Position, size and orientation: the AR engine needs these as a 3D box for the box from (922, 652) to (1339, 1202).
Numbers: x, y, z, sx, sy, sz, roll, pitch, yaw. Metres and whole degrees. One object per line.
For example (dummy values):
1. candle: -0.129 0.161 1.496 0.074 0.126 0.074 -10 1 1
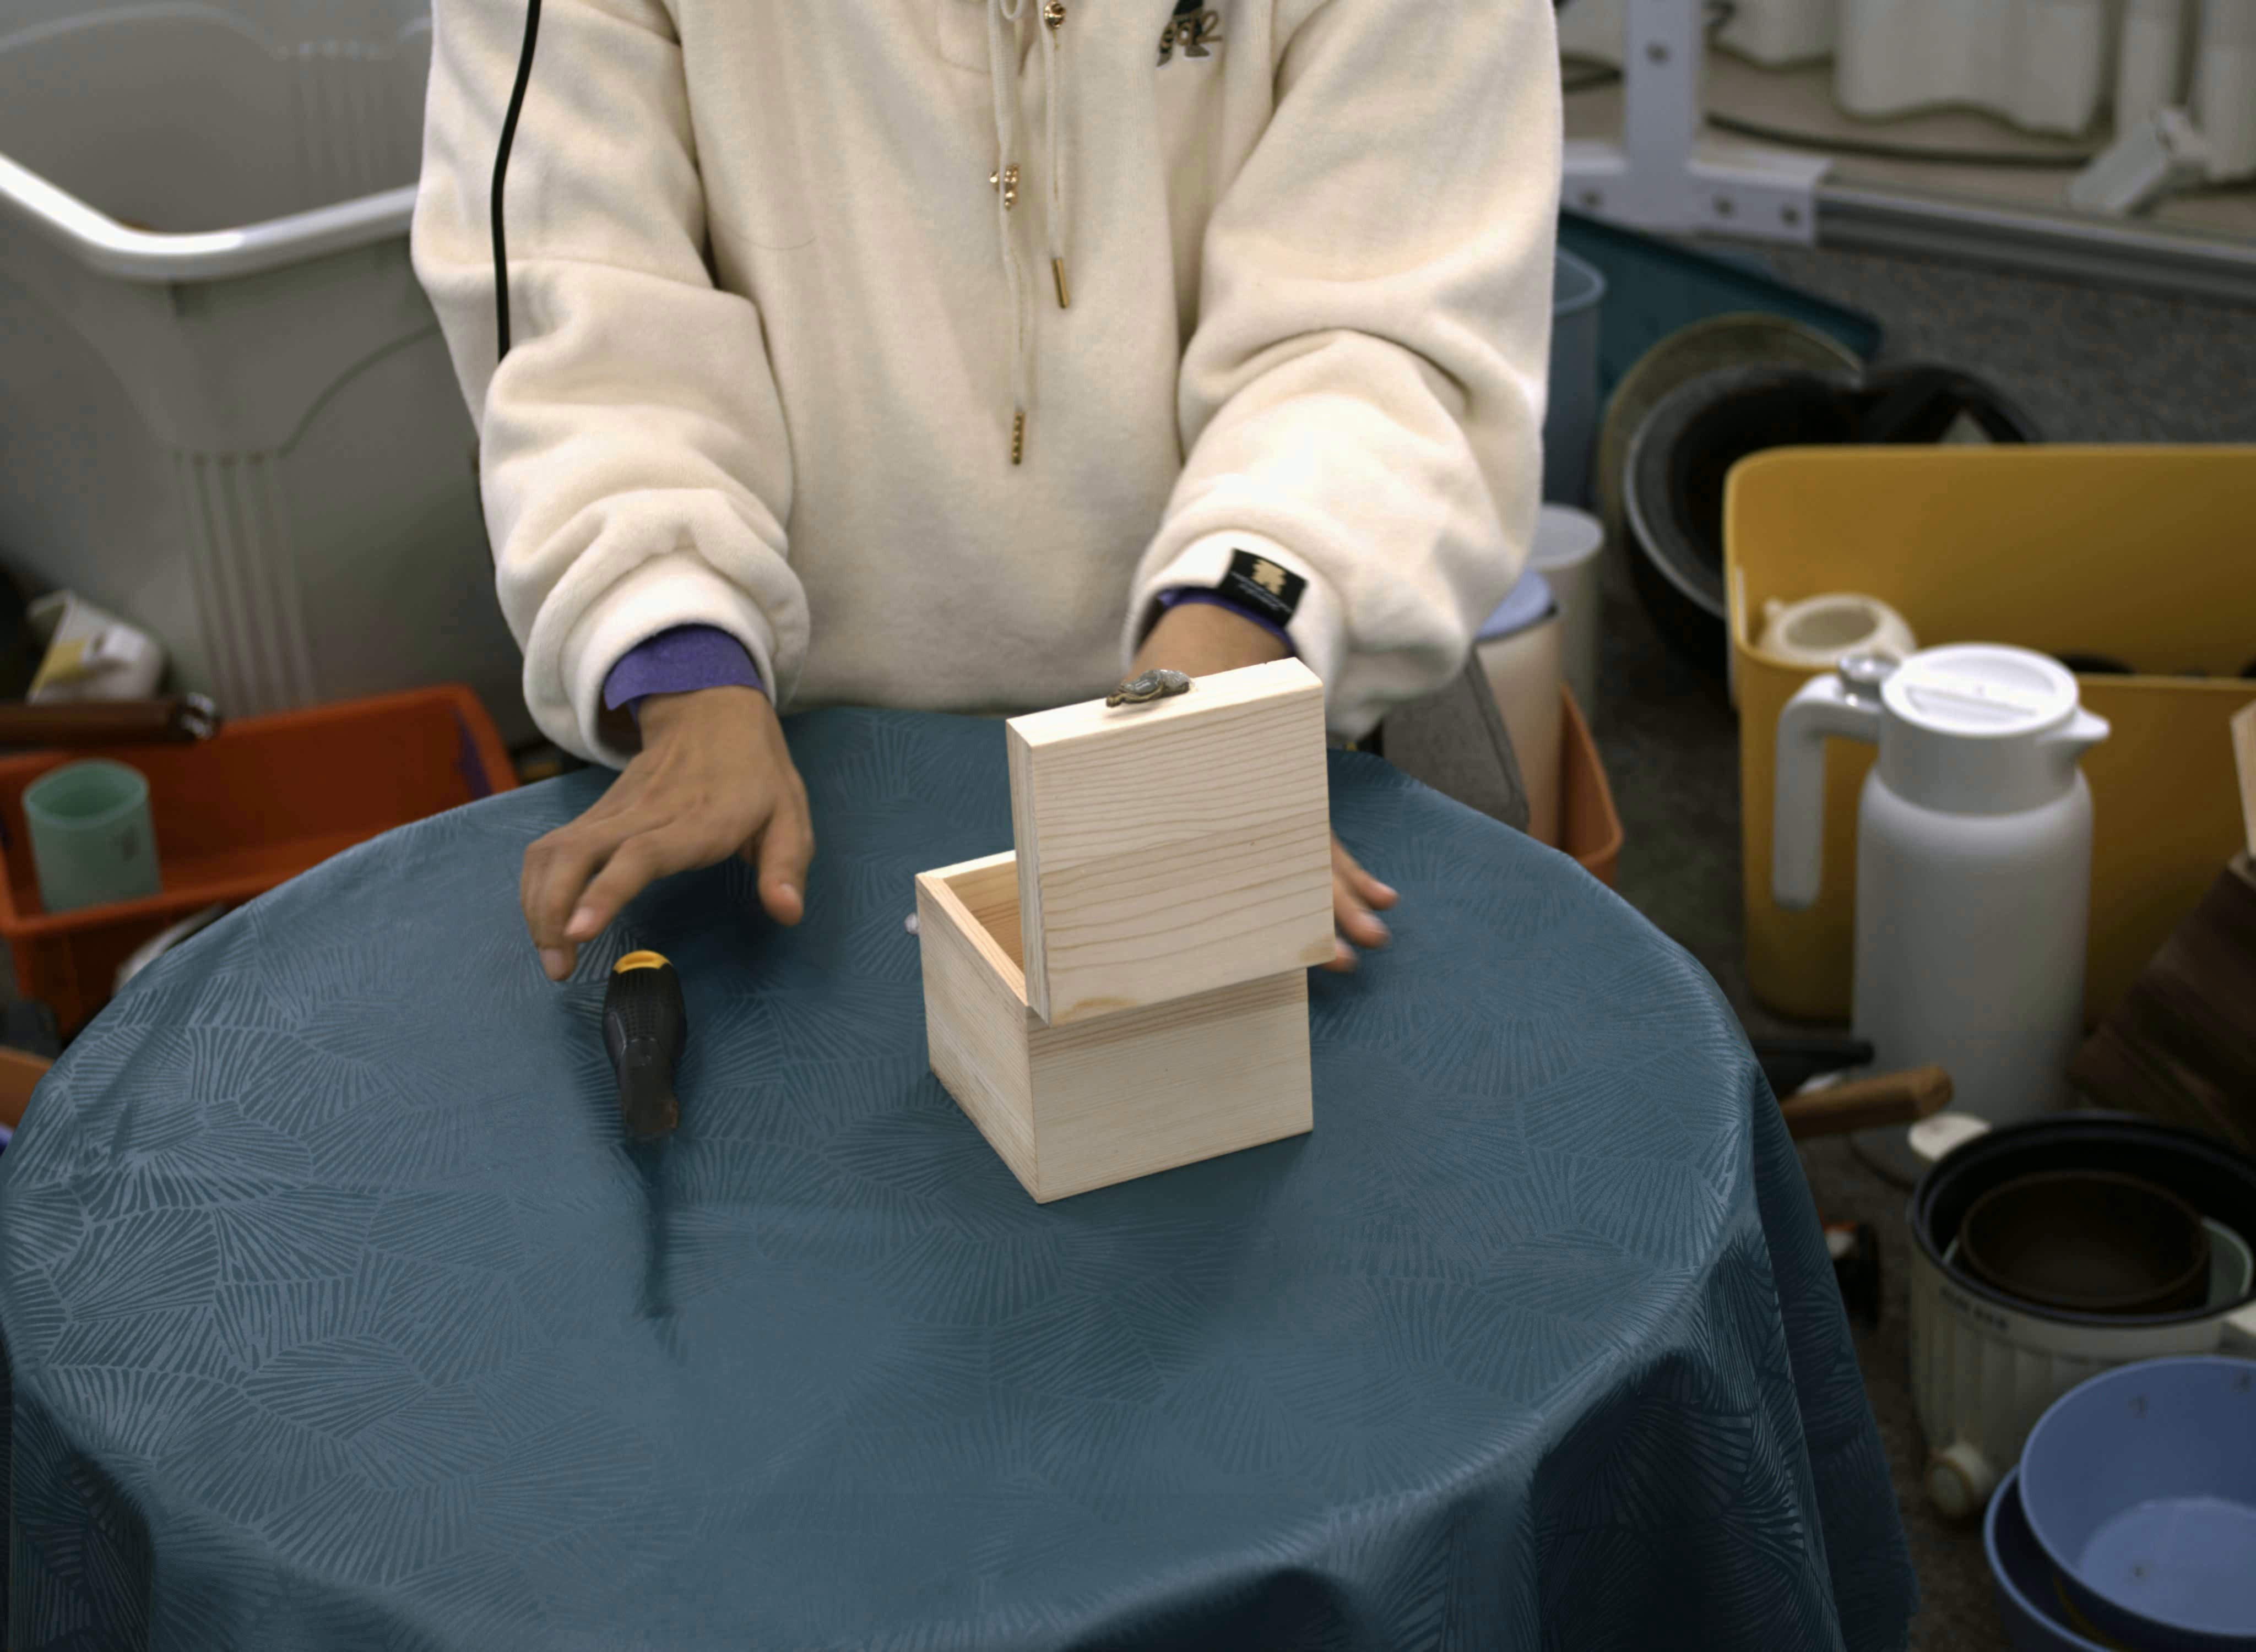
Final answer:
1. box: -0.002 0.016 1.867 0.103 0.182 0.135 -14 29 -20

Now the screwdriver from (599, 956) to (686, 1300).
1. screwdriver: -0.166 0.103 1.891 0.031 0.031 0.201 -3 30 -1
